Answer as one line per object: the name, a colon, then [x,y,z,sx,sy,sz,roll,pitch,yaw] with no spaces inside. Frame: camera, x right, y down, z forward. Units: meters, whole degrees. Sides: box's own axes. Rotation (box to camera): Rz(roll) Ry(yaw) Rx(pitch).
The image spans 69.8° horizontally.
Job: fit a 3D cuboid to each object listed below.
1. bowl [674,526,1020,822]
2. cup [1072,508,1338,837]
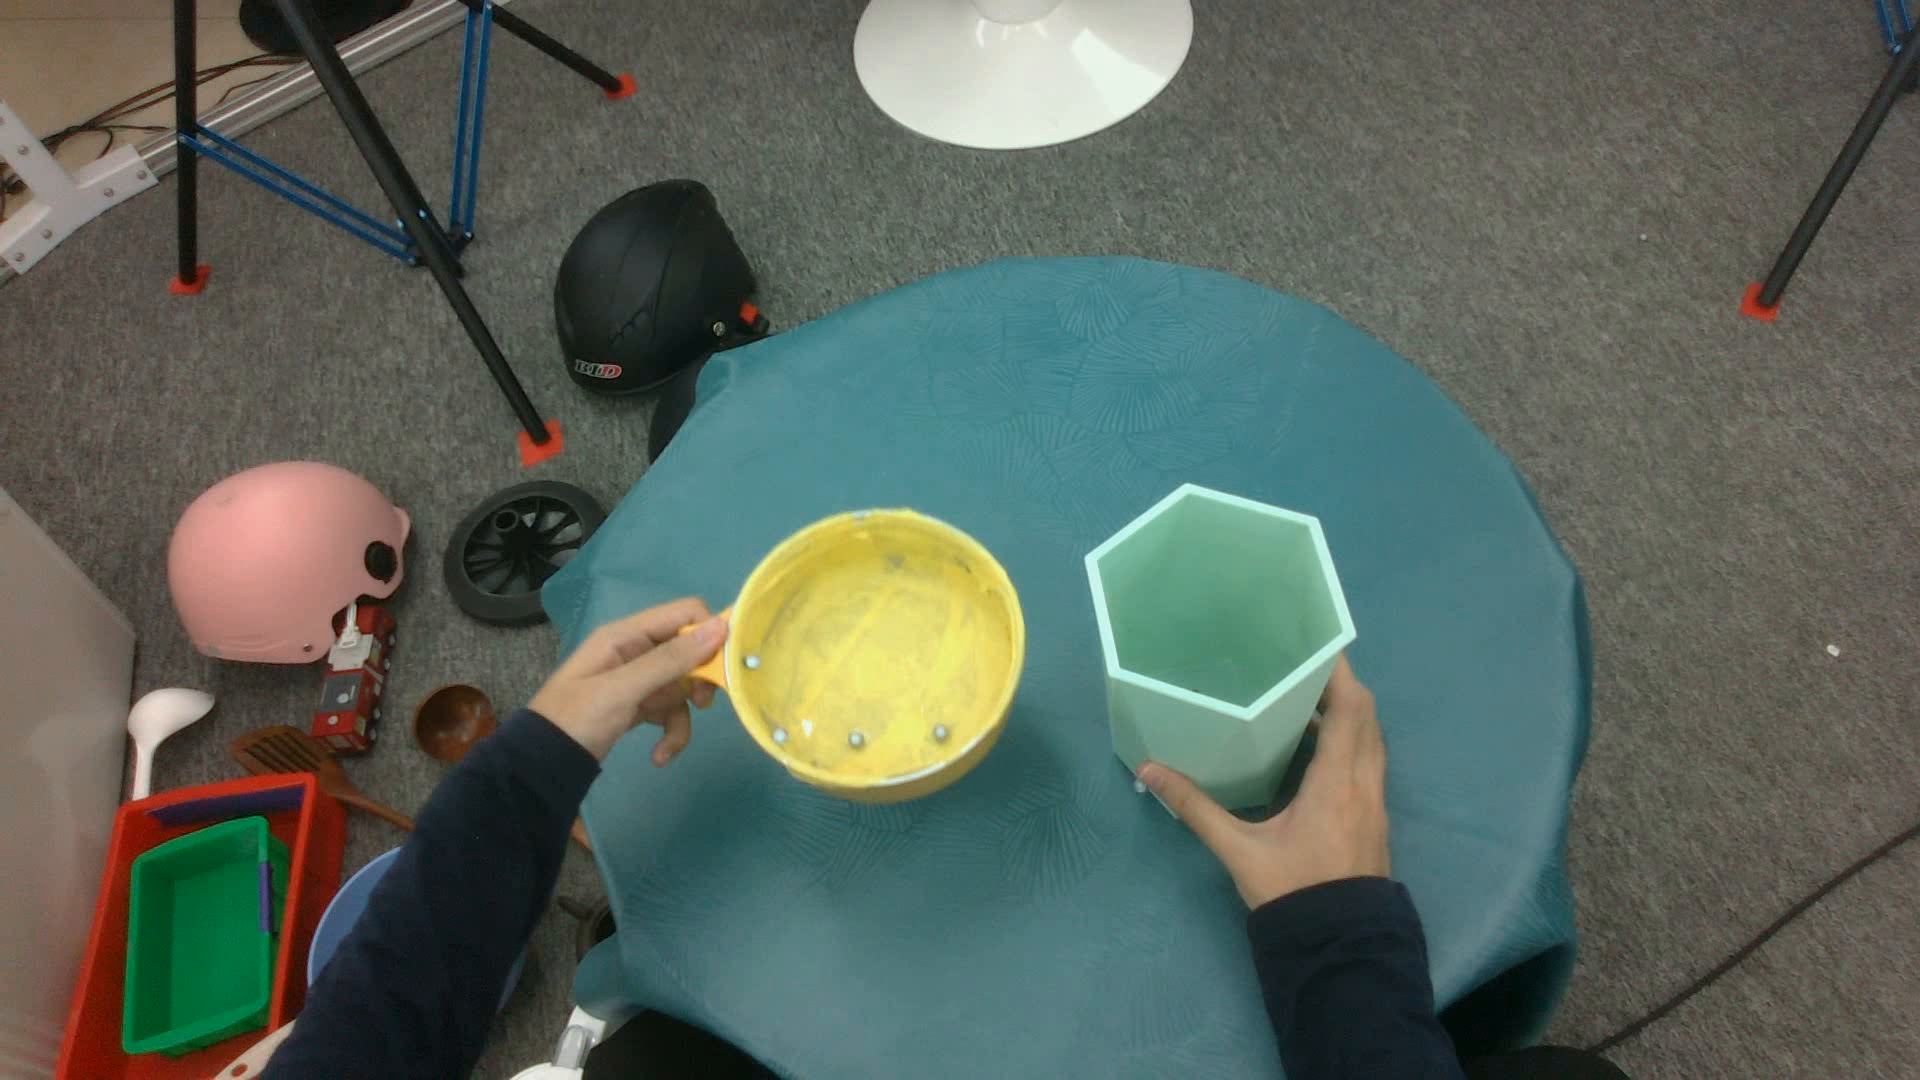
bowl: [-0.058,0.074,0.728,0.179,0.074,0.153,-5,64,0]
cup: [0.128,0.079,0.725,0.131,0.162,0.115,12,60,18]
